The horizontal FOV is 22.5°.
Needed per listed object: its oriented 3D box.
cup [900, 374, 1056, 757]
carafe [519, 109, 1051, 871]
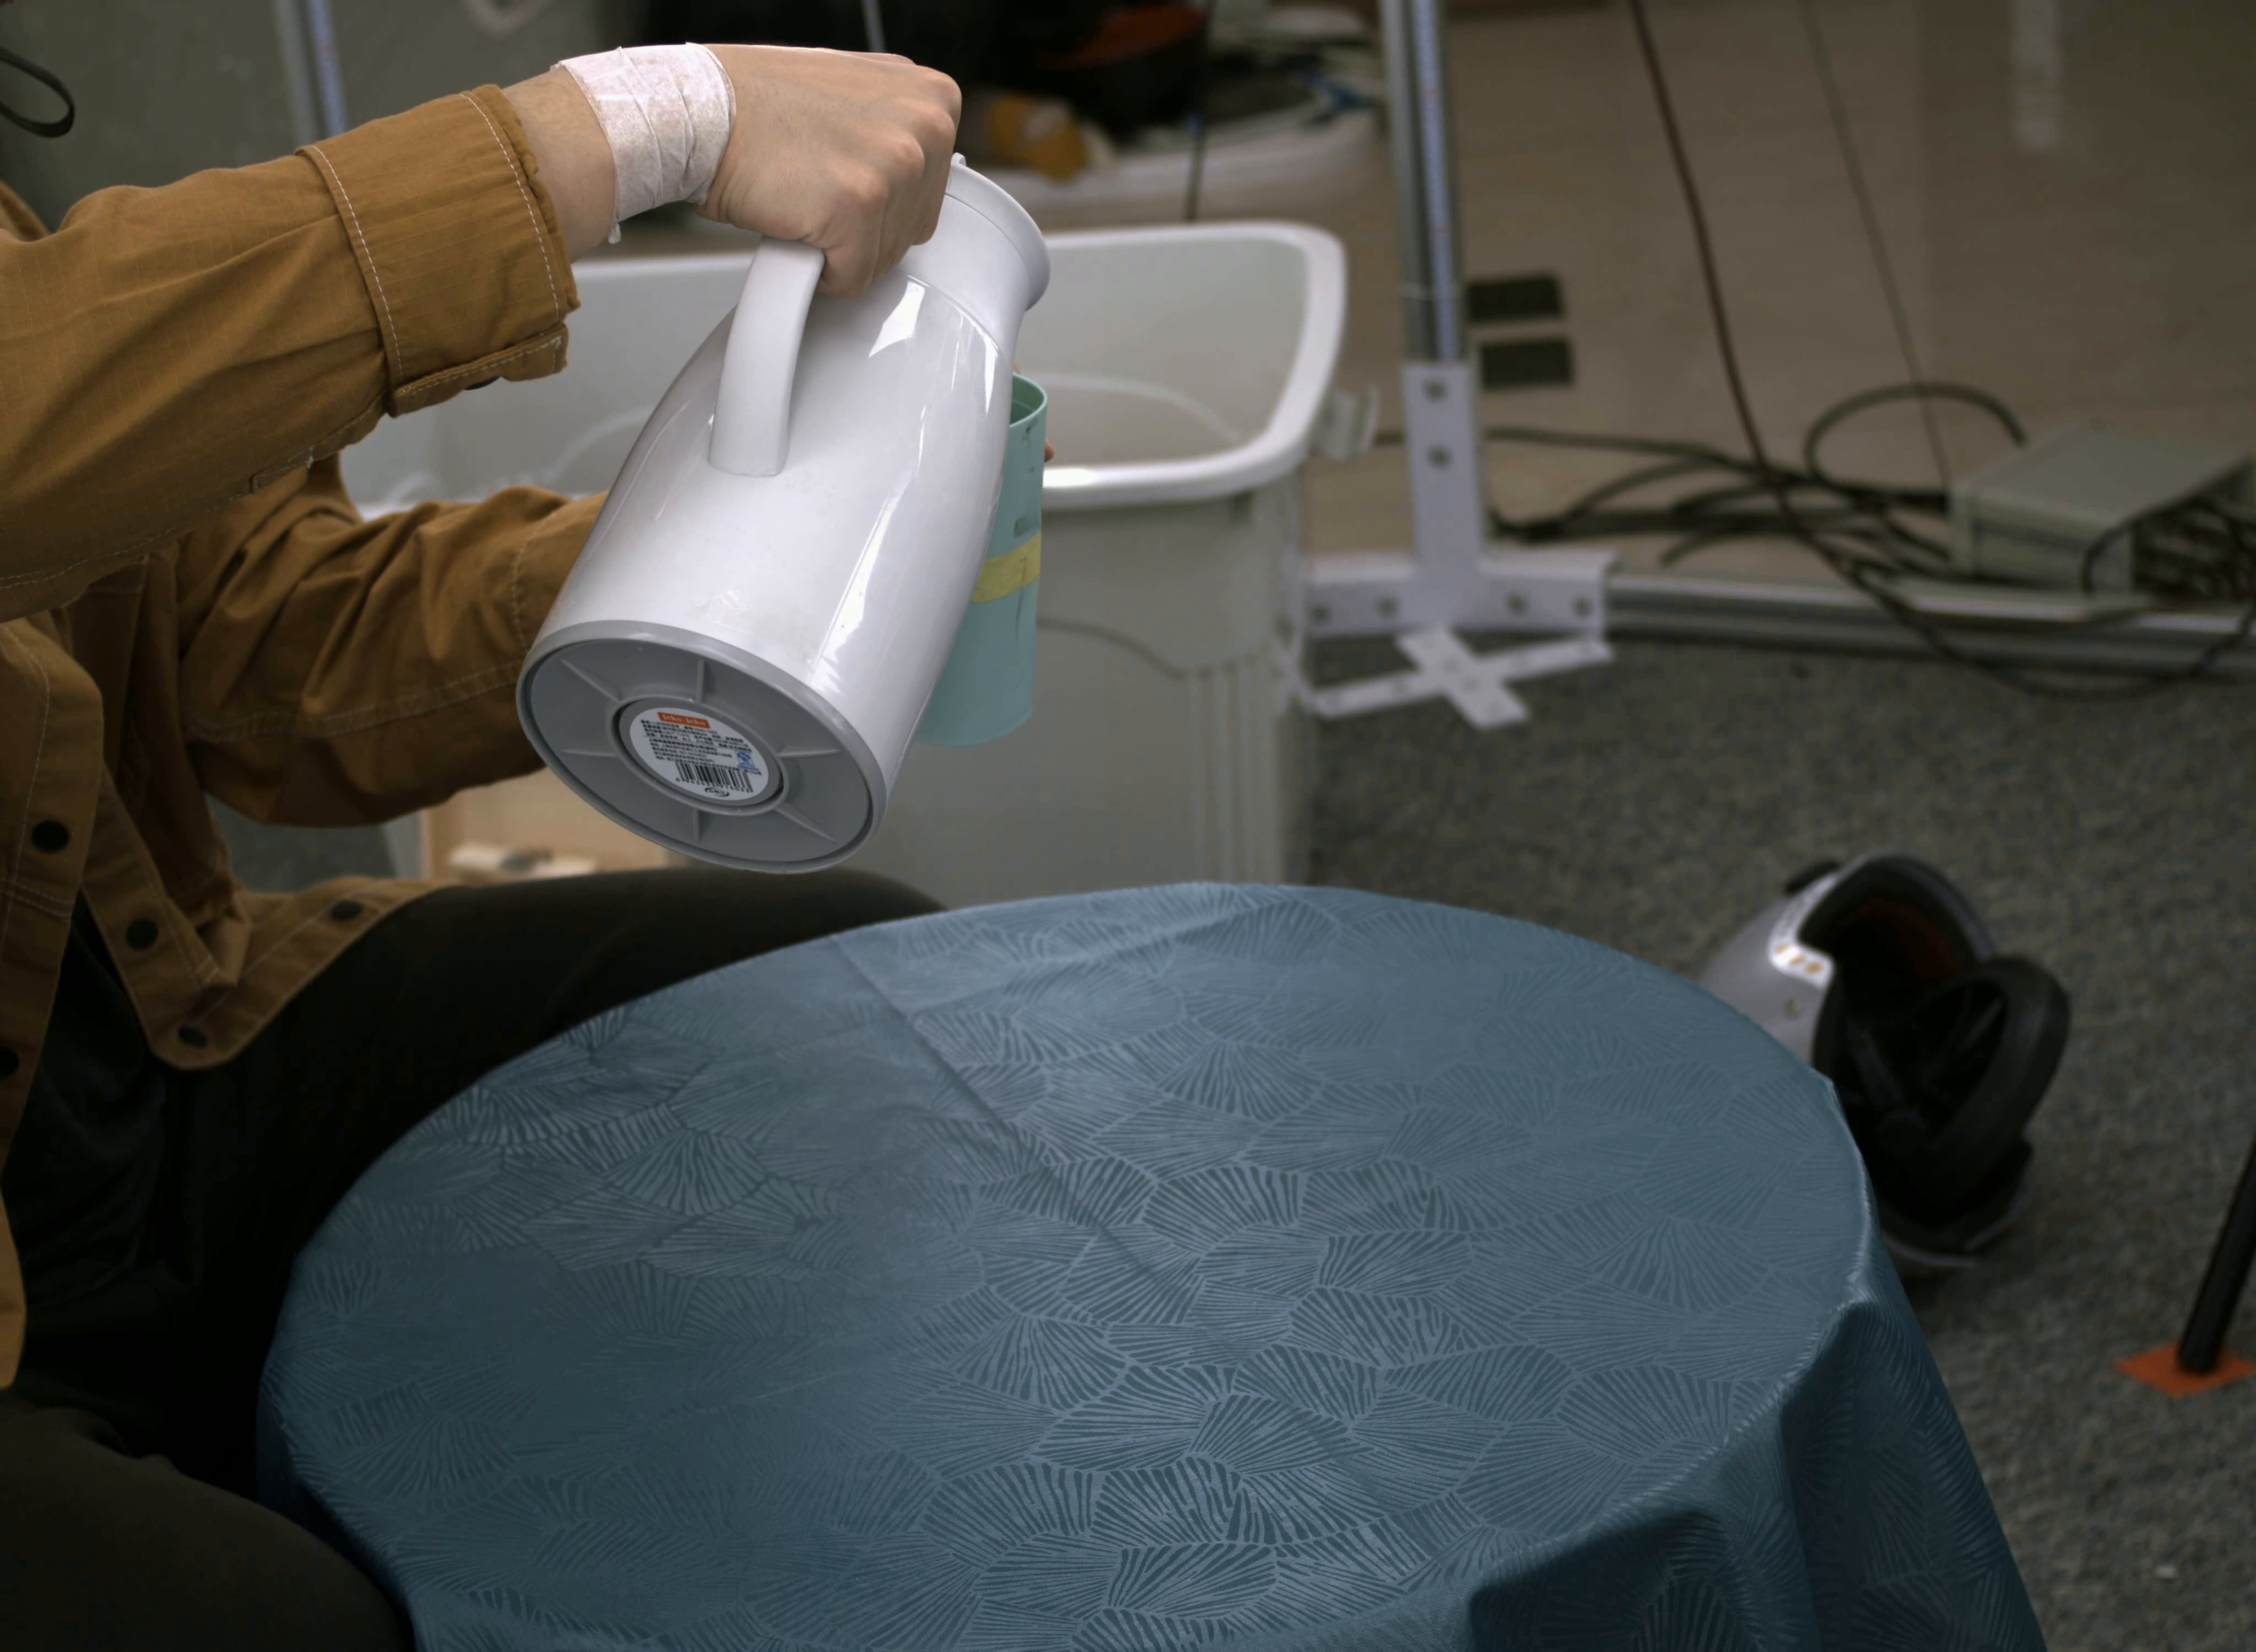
[{"bbox_3d":[-0.065,-0.100,2.122,0.066,0.134,0.065,3,29,-1],"label":"cup"},{"bbox_3d":[-0.107,-0.132,1.958,0.132,0.171,0.245,13,59,15],"label":"carafe"}]
